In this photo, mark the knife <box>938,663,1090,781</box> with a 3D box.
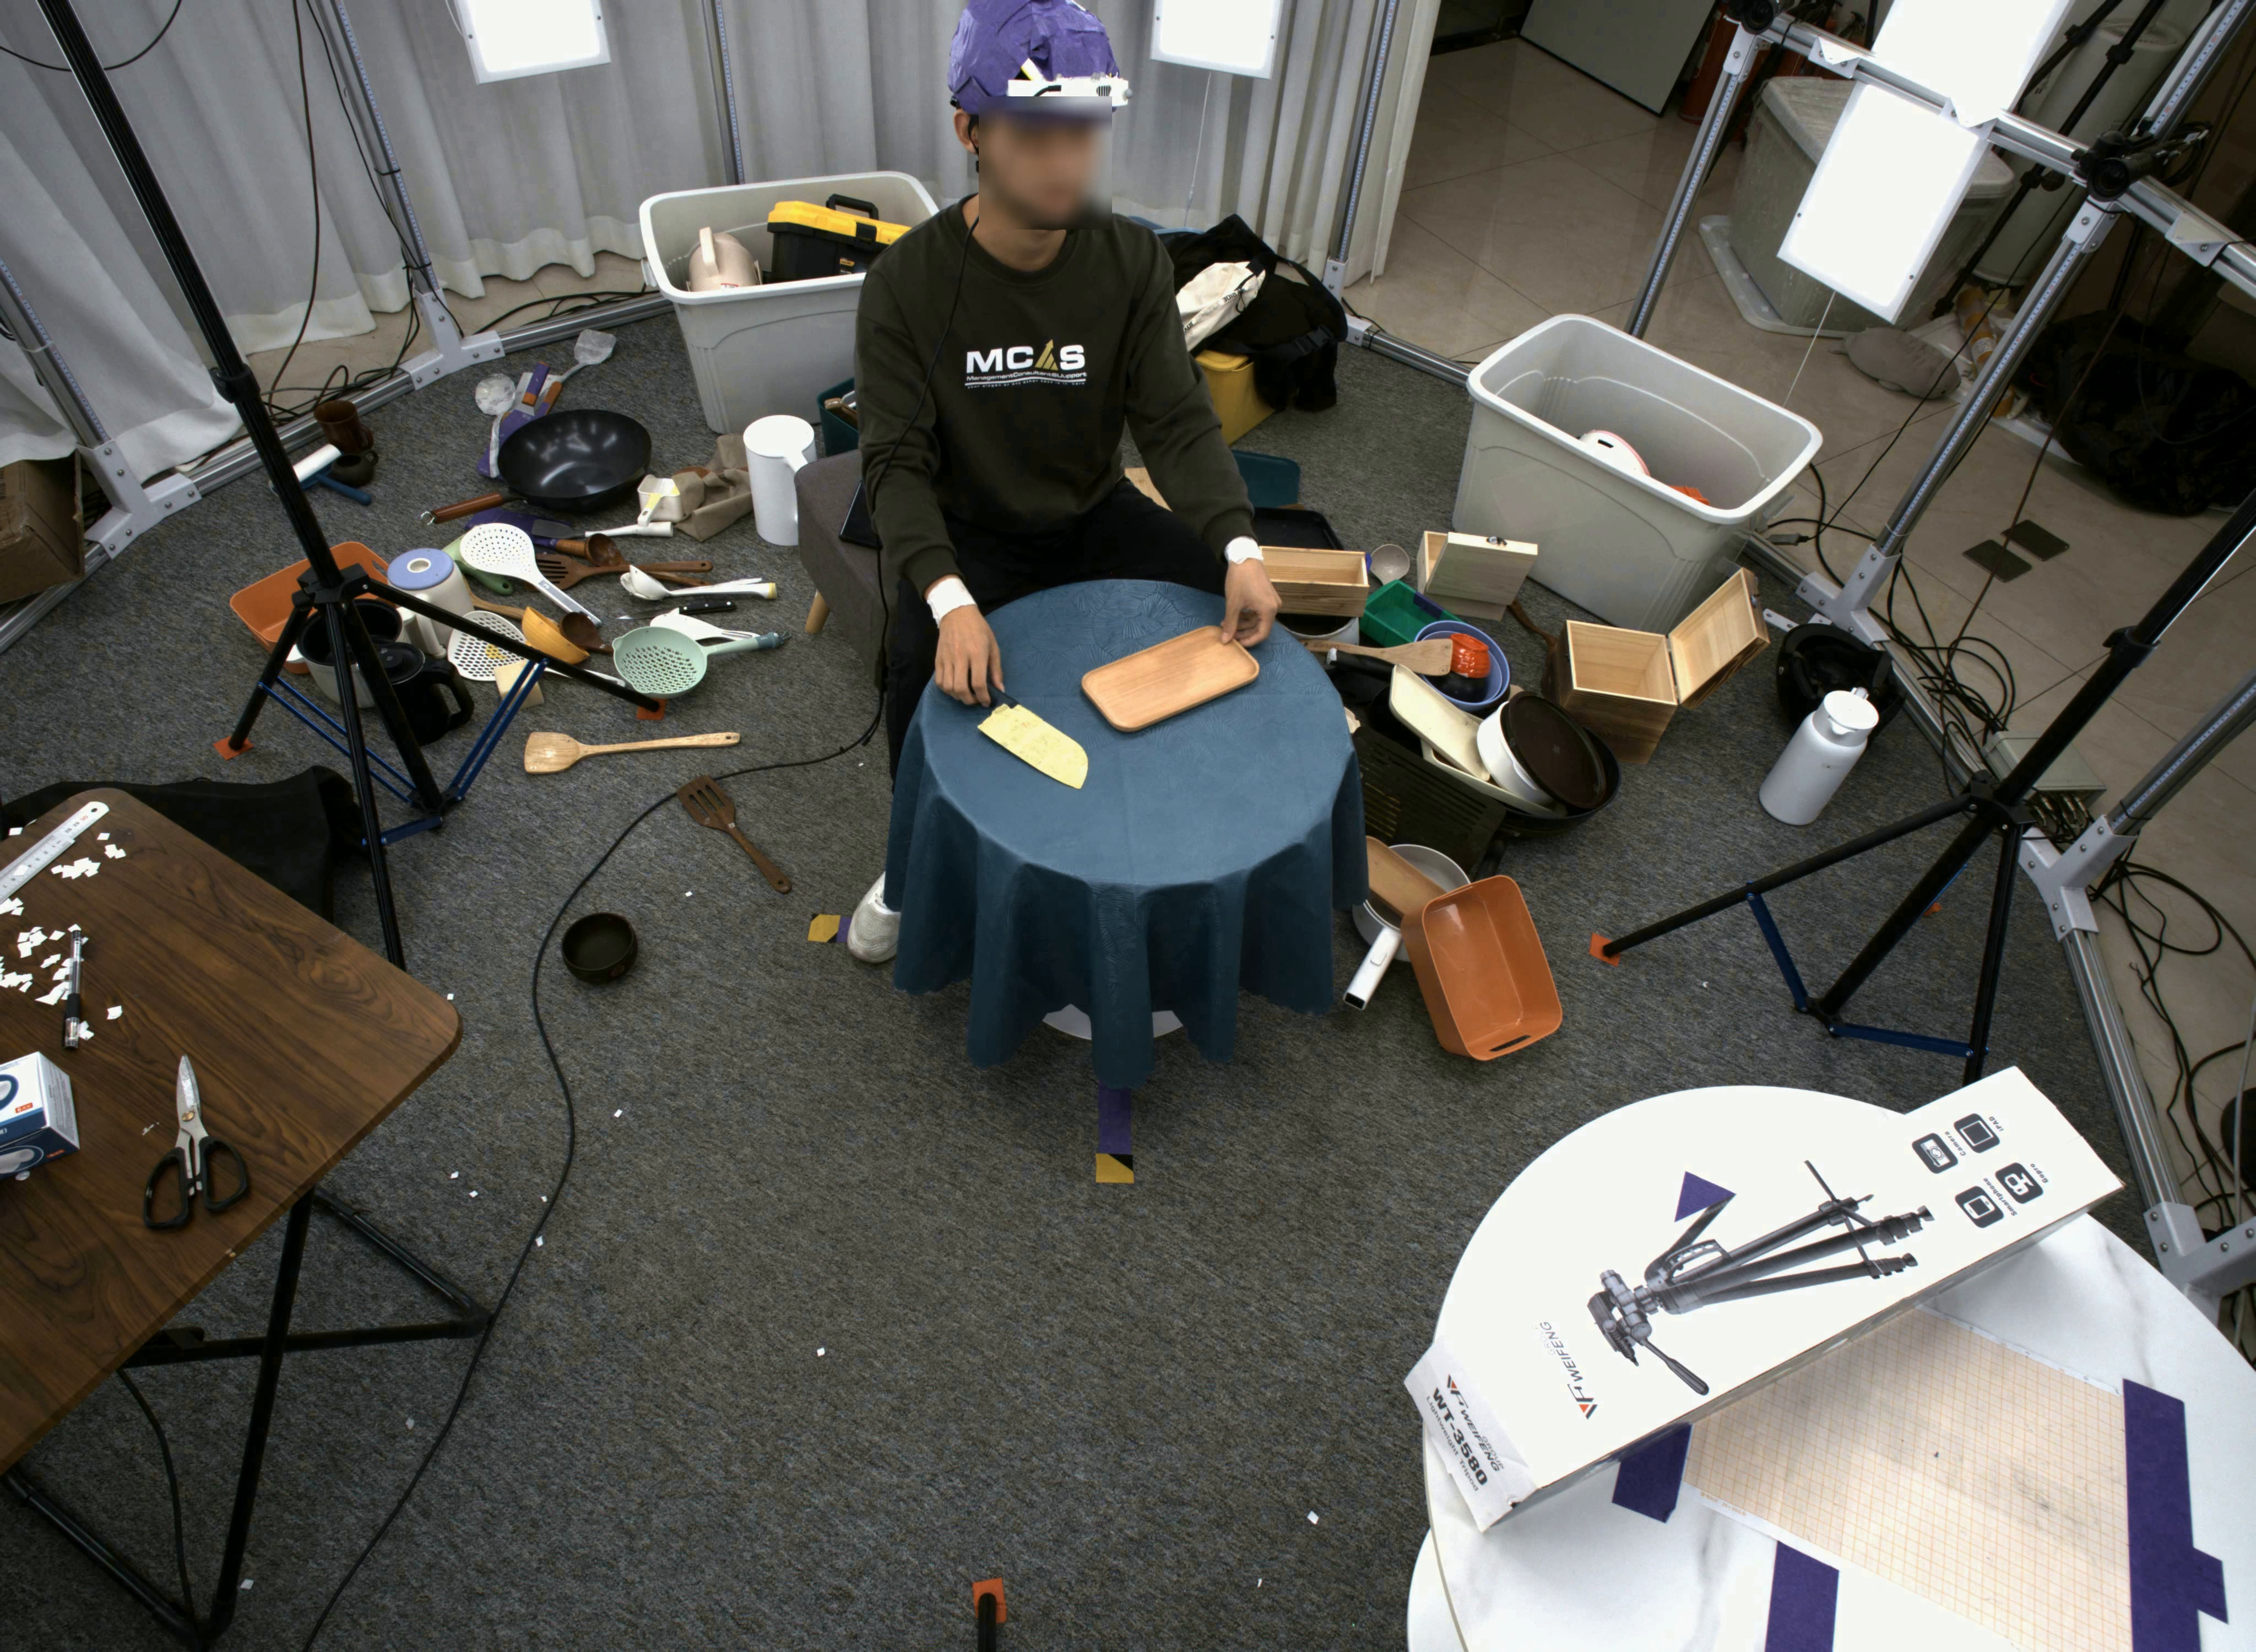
[{"bbox_3d":[-0.164,-0.143,1.771,0.293,0.026,0.082,36,54,23],"label":"knife"}]

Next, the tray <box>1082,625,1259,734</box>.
[{"bbox_3d":[0.062,-0.212,1.845,0.251,0.022,0.133,-25,53,-22],"label":"tray"}]
